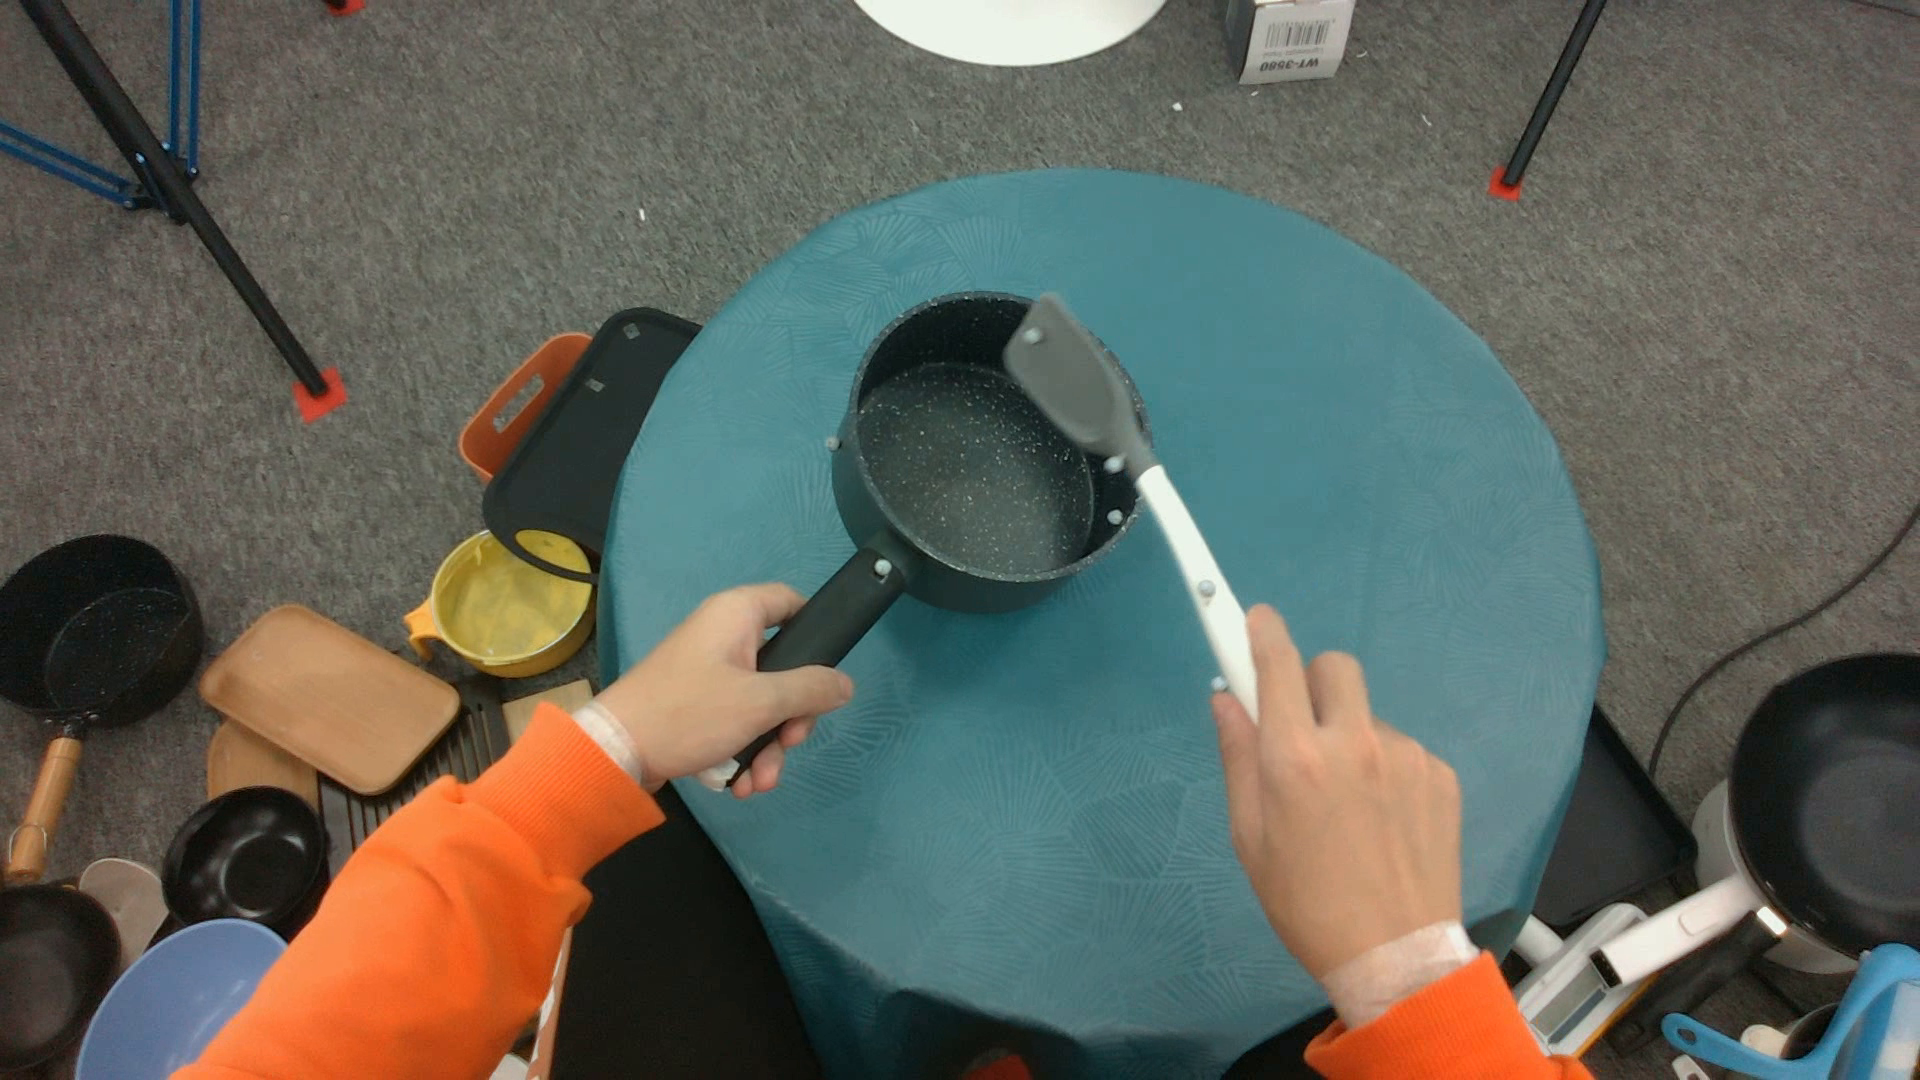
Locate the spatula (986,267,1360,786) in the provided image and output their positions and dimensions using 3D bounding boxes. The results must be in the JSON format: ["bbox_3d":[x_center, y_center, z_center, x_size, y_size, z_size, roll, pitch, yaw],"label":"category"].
[{"bbox_3d":[0.094,-0.013,0.656,0.032,0.058,0.288,-12,59,-34],"label":"spatula"}]

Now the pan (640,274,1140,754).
[{"bbox_3d":[-0.041,-0.003,0.723,0.172,0.086,0.330,42,61,3],"label":"pan"}]
